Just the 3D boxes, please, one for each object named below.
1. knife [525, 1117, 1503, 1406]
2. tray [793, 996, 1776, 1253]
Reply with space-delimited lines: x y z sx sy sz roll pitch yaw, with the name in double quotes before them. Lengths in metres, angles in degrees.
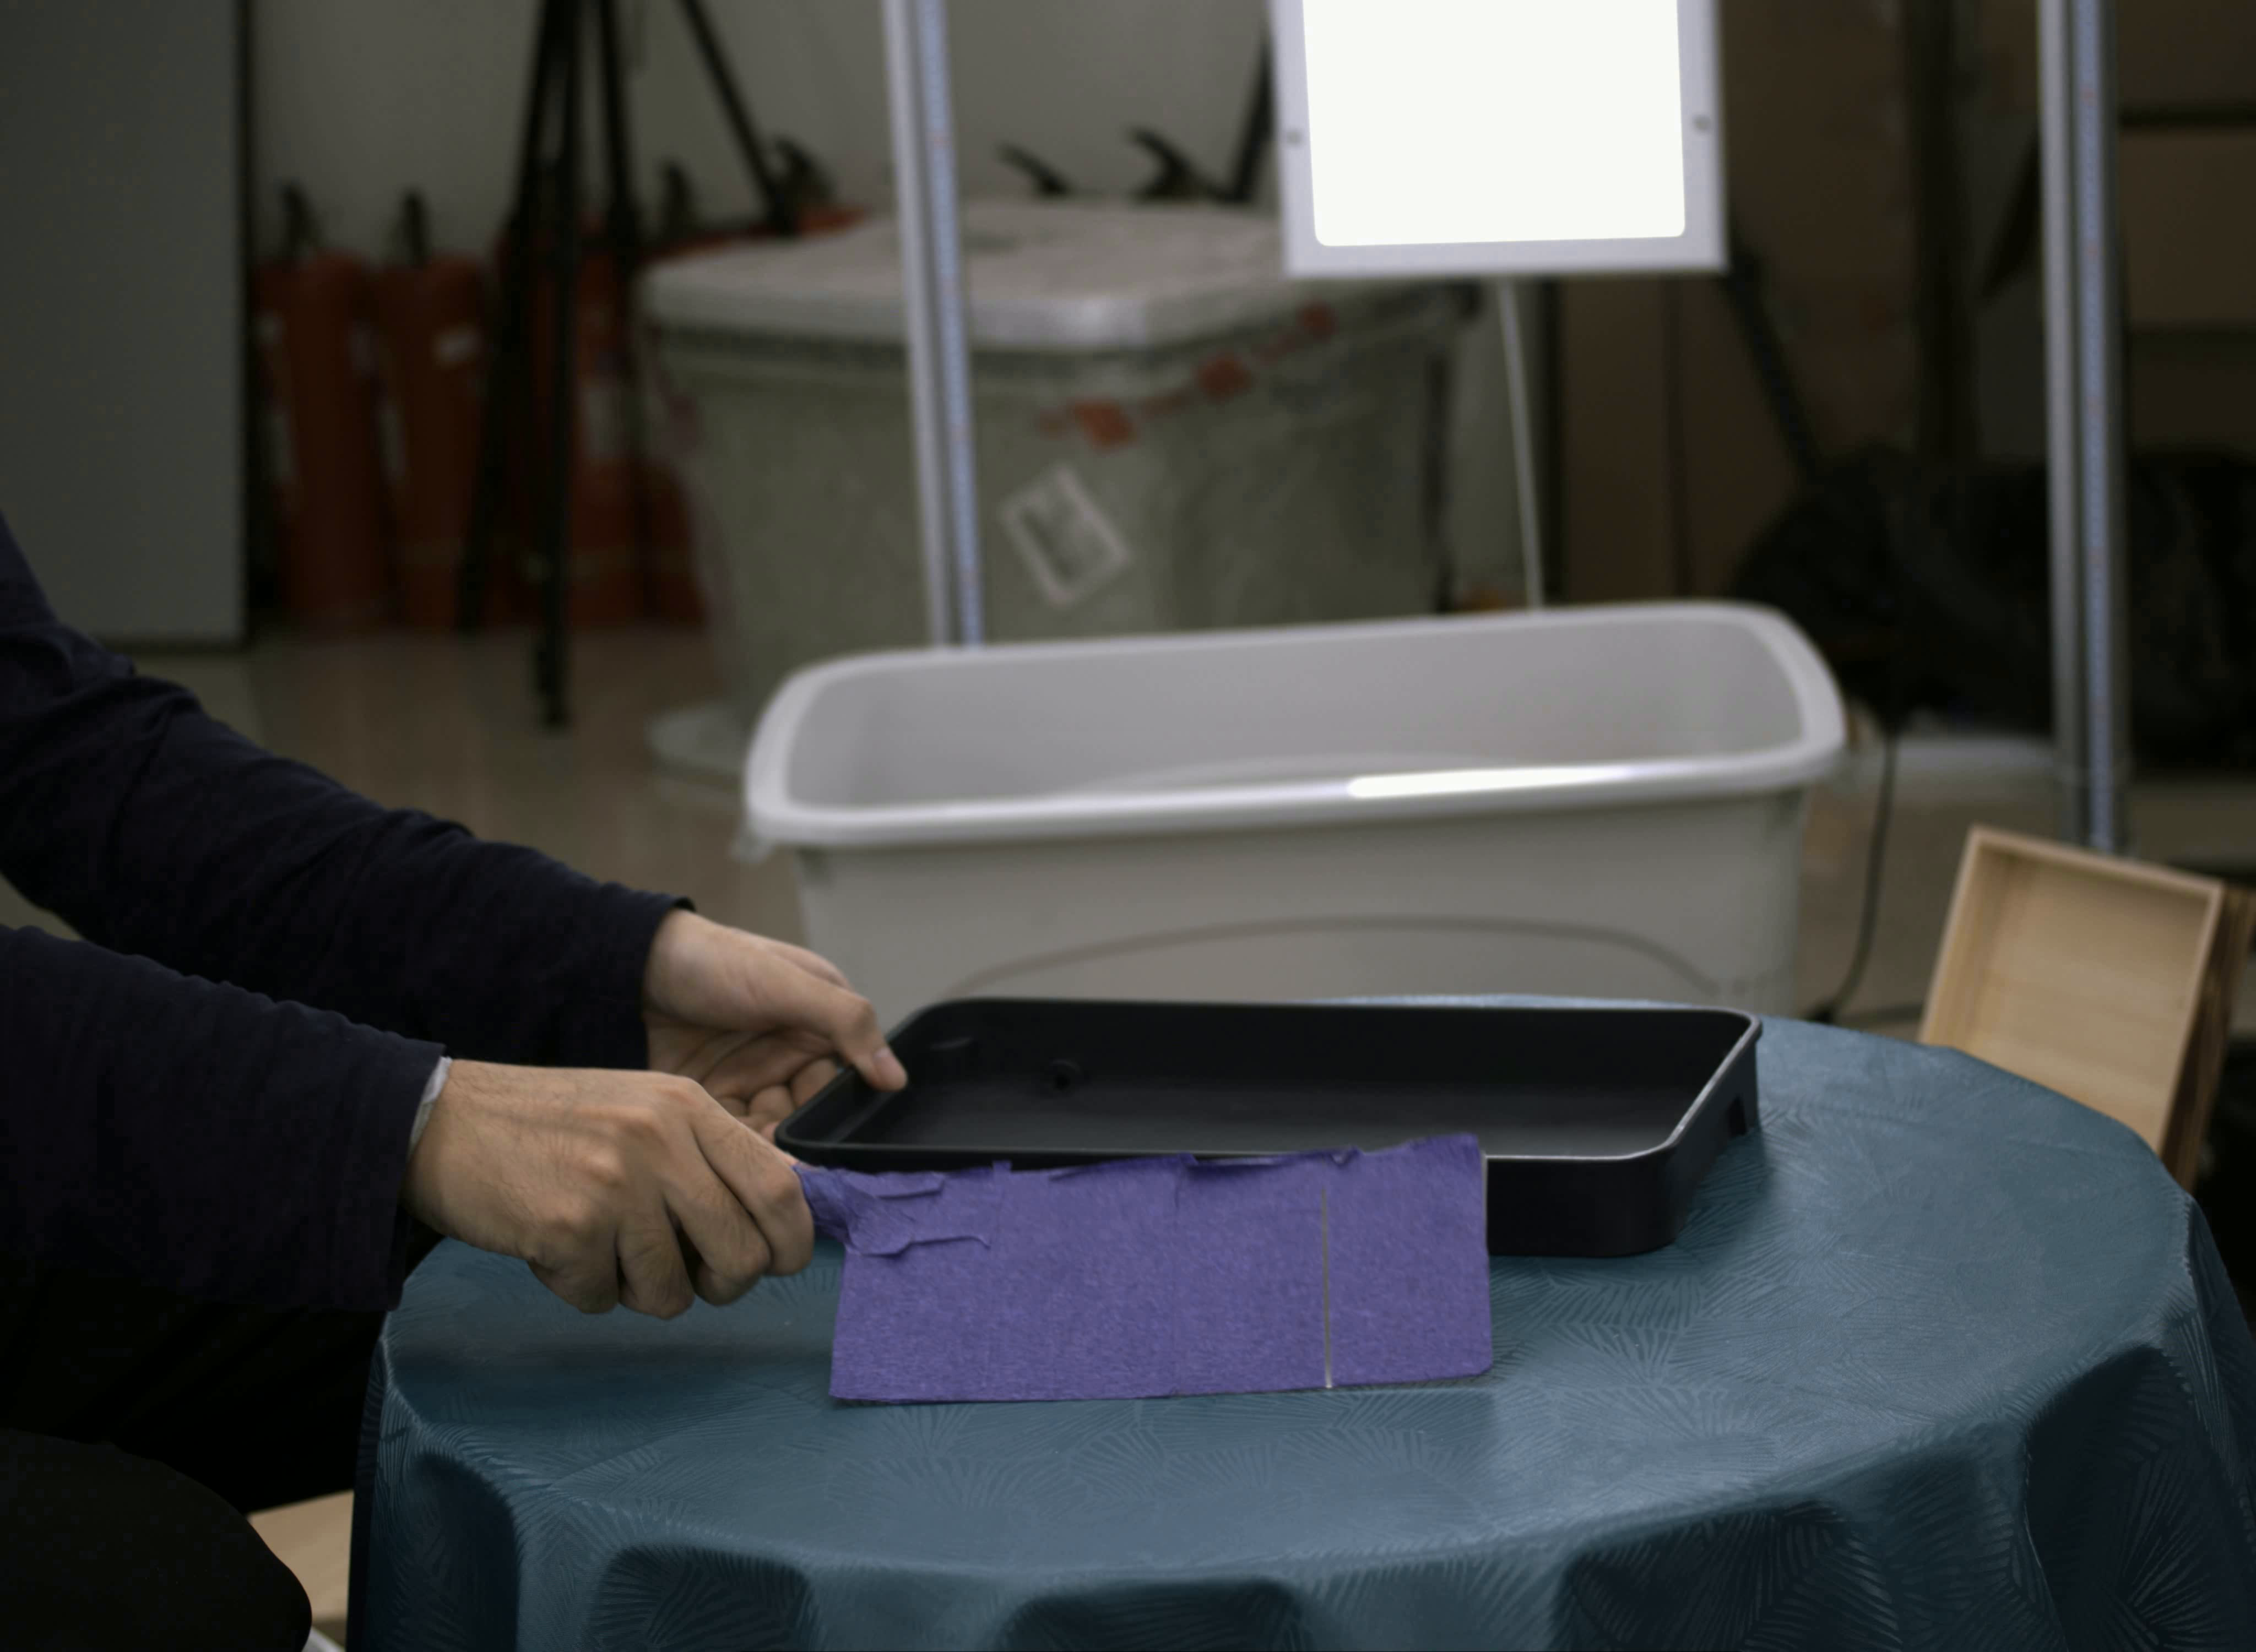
"knife" -0.039 0.140 1.732 0.317 0.032 0.103 -5 45 11
"tray" 0.058 0.103 1.910 0.322 0.037 0.181 -2 14 19
